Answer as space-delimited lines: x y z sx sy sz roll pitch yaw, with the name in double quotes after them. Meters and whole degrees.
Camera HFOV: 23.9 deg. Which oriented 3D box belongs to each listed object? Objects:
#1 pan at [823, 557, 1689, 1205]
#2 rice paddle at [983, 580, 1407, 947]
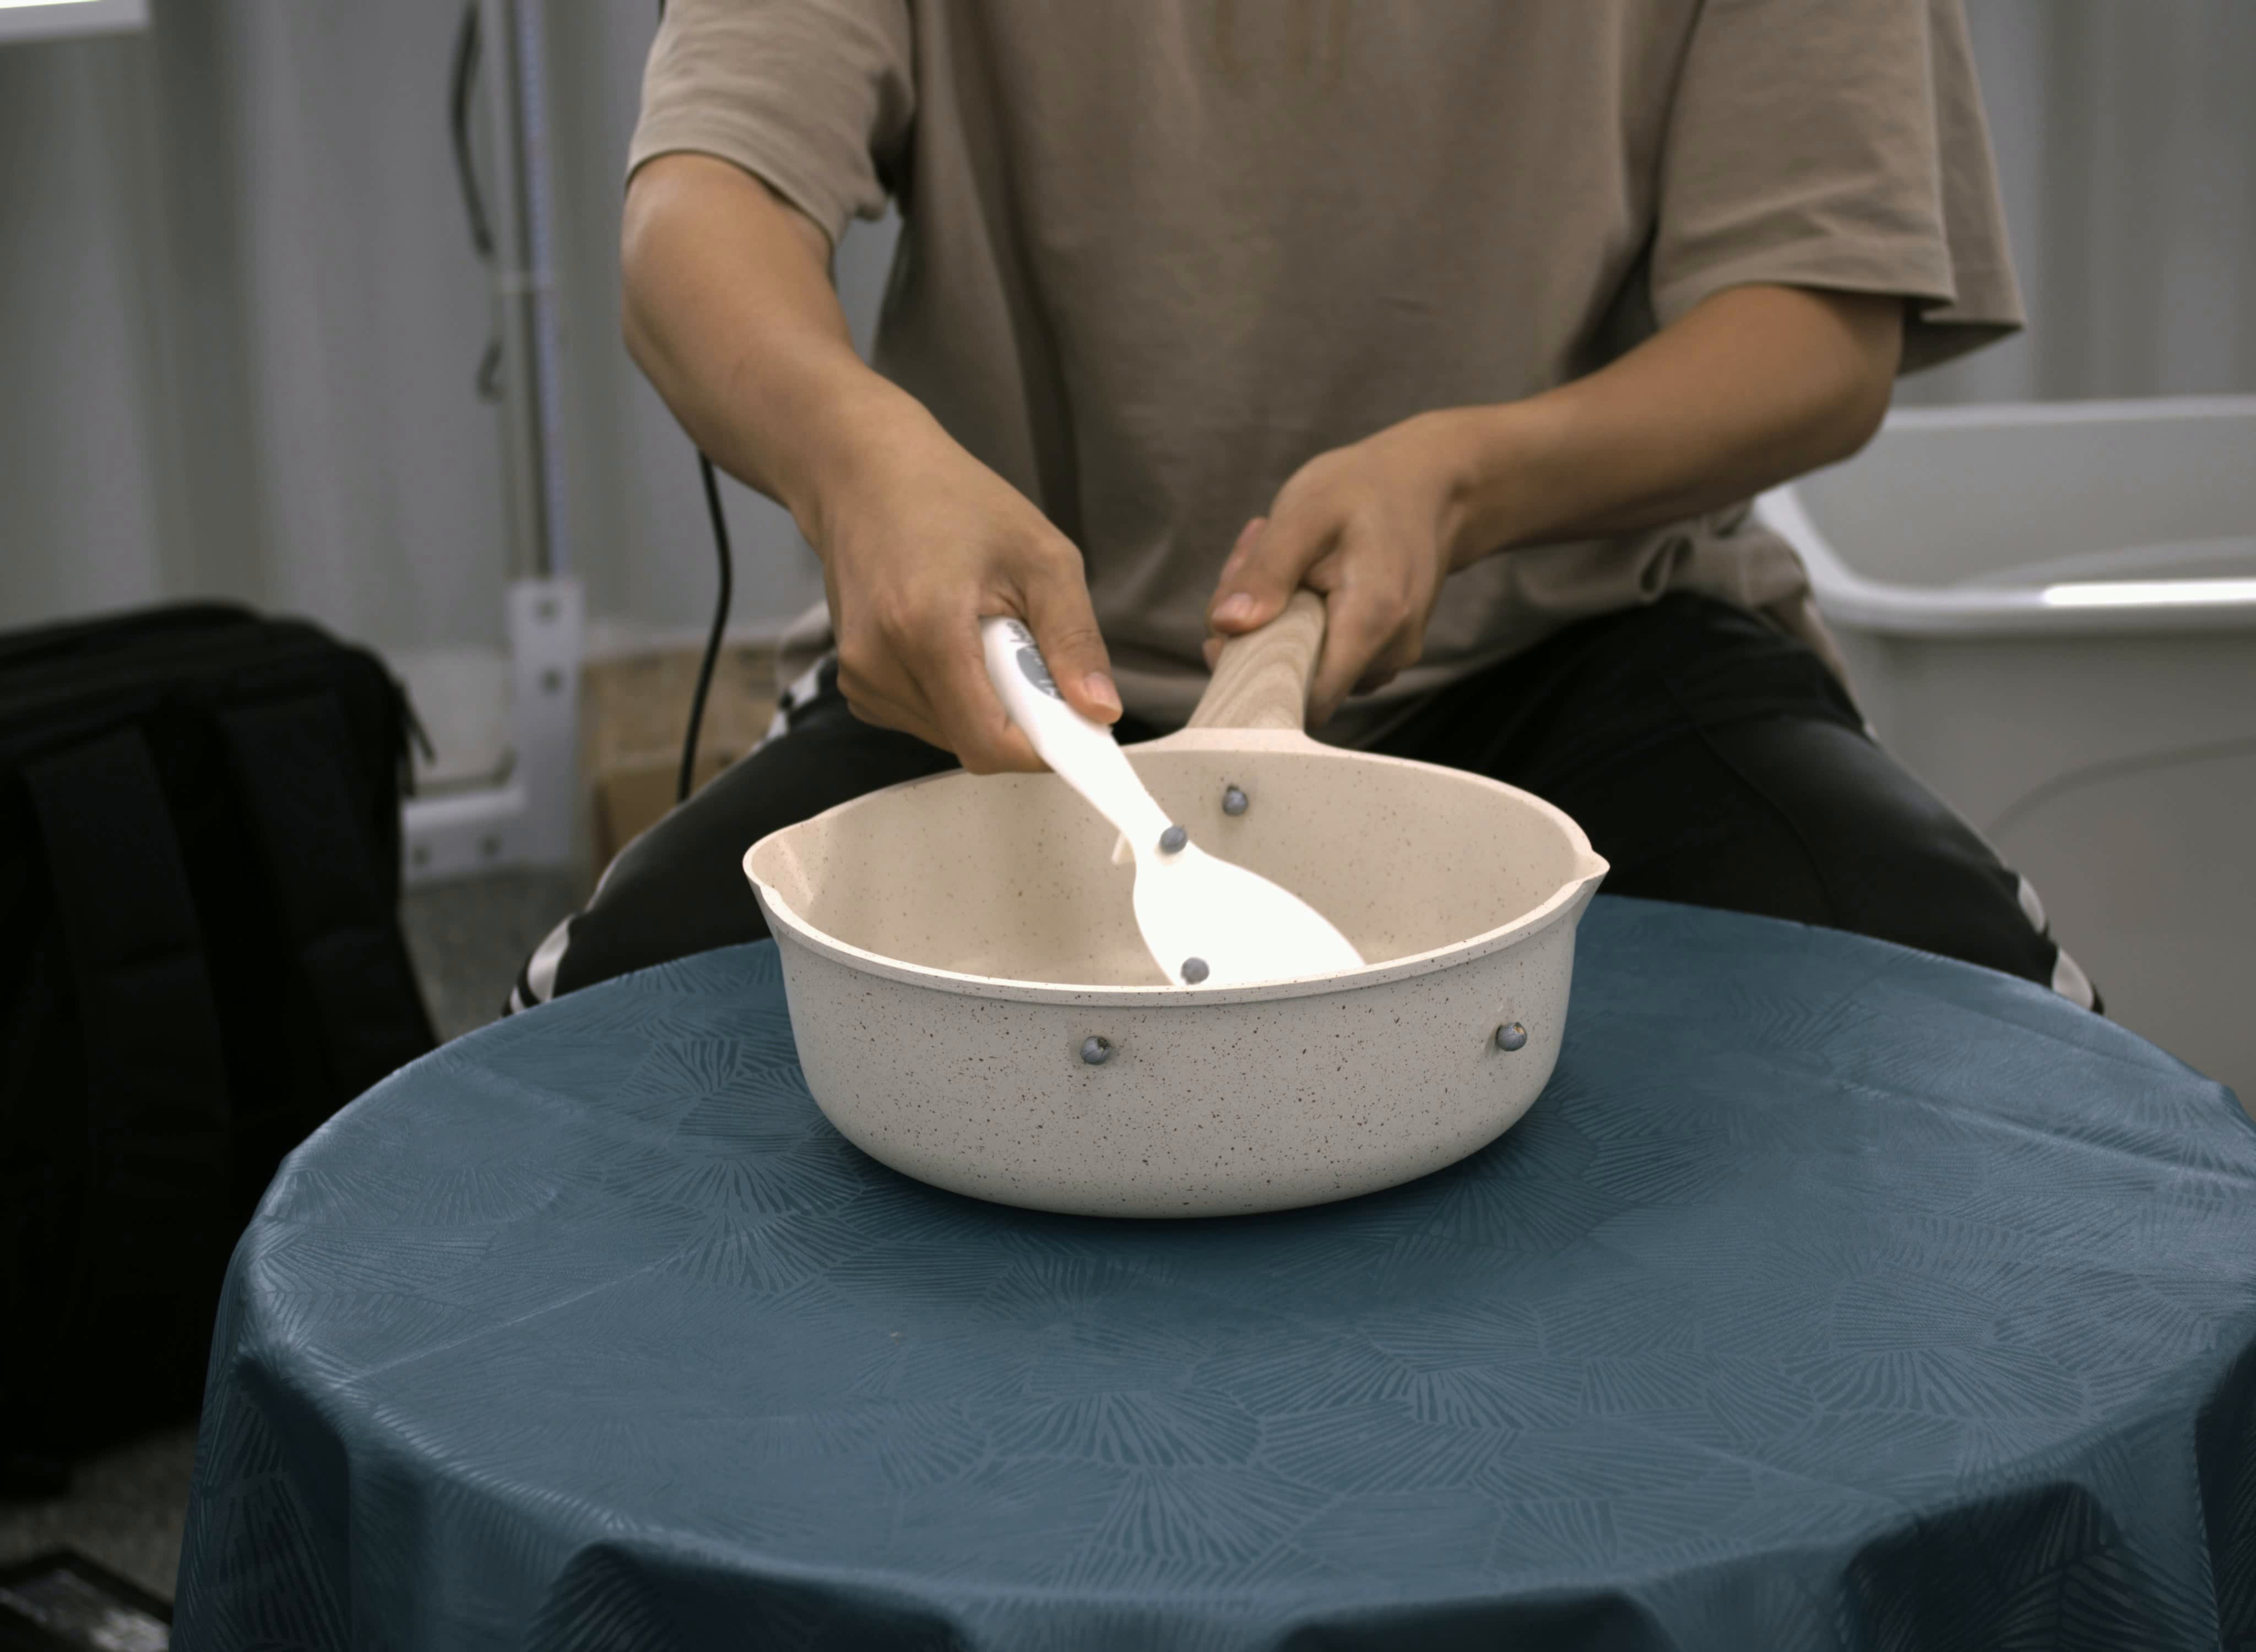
0.053 0.013 1.692 0.264 0.102 0.433 -1 16 10 "pan"
0.025 0.001 1.628 0.067 0.029 0.209 -13 50 -37 "rice paddle"
